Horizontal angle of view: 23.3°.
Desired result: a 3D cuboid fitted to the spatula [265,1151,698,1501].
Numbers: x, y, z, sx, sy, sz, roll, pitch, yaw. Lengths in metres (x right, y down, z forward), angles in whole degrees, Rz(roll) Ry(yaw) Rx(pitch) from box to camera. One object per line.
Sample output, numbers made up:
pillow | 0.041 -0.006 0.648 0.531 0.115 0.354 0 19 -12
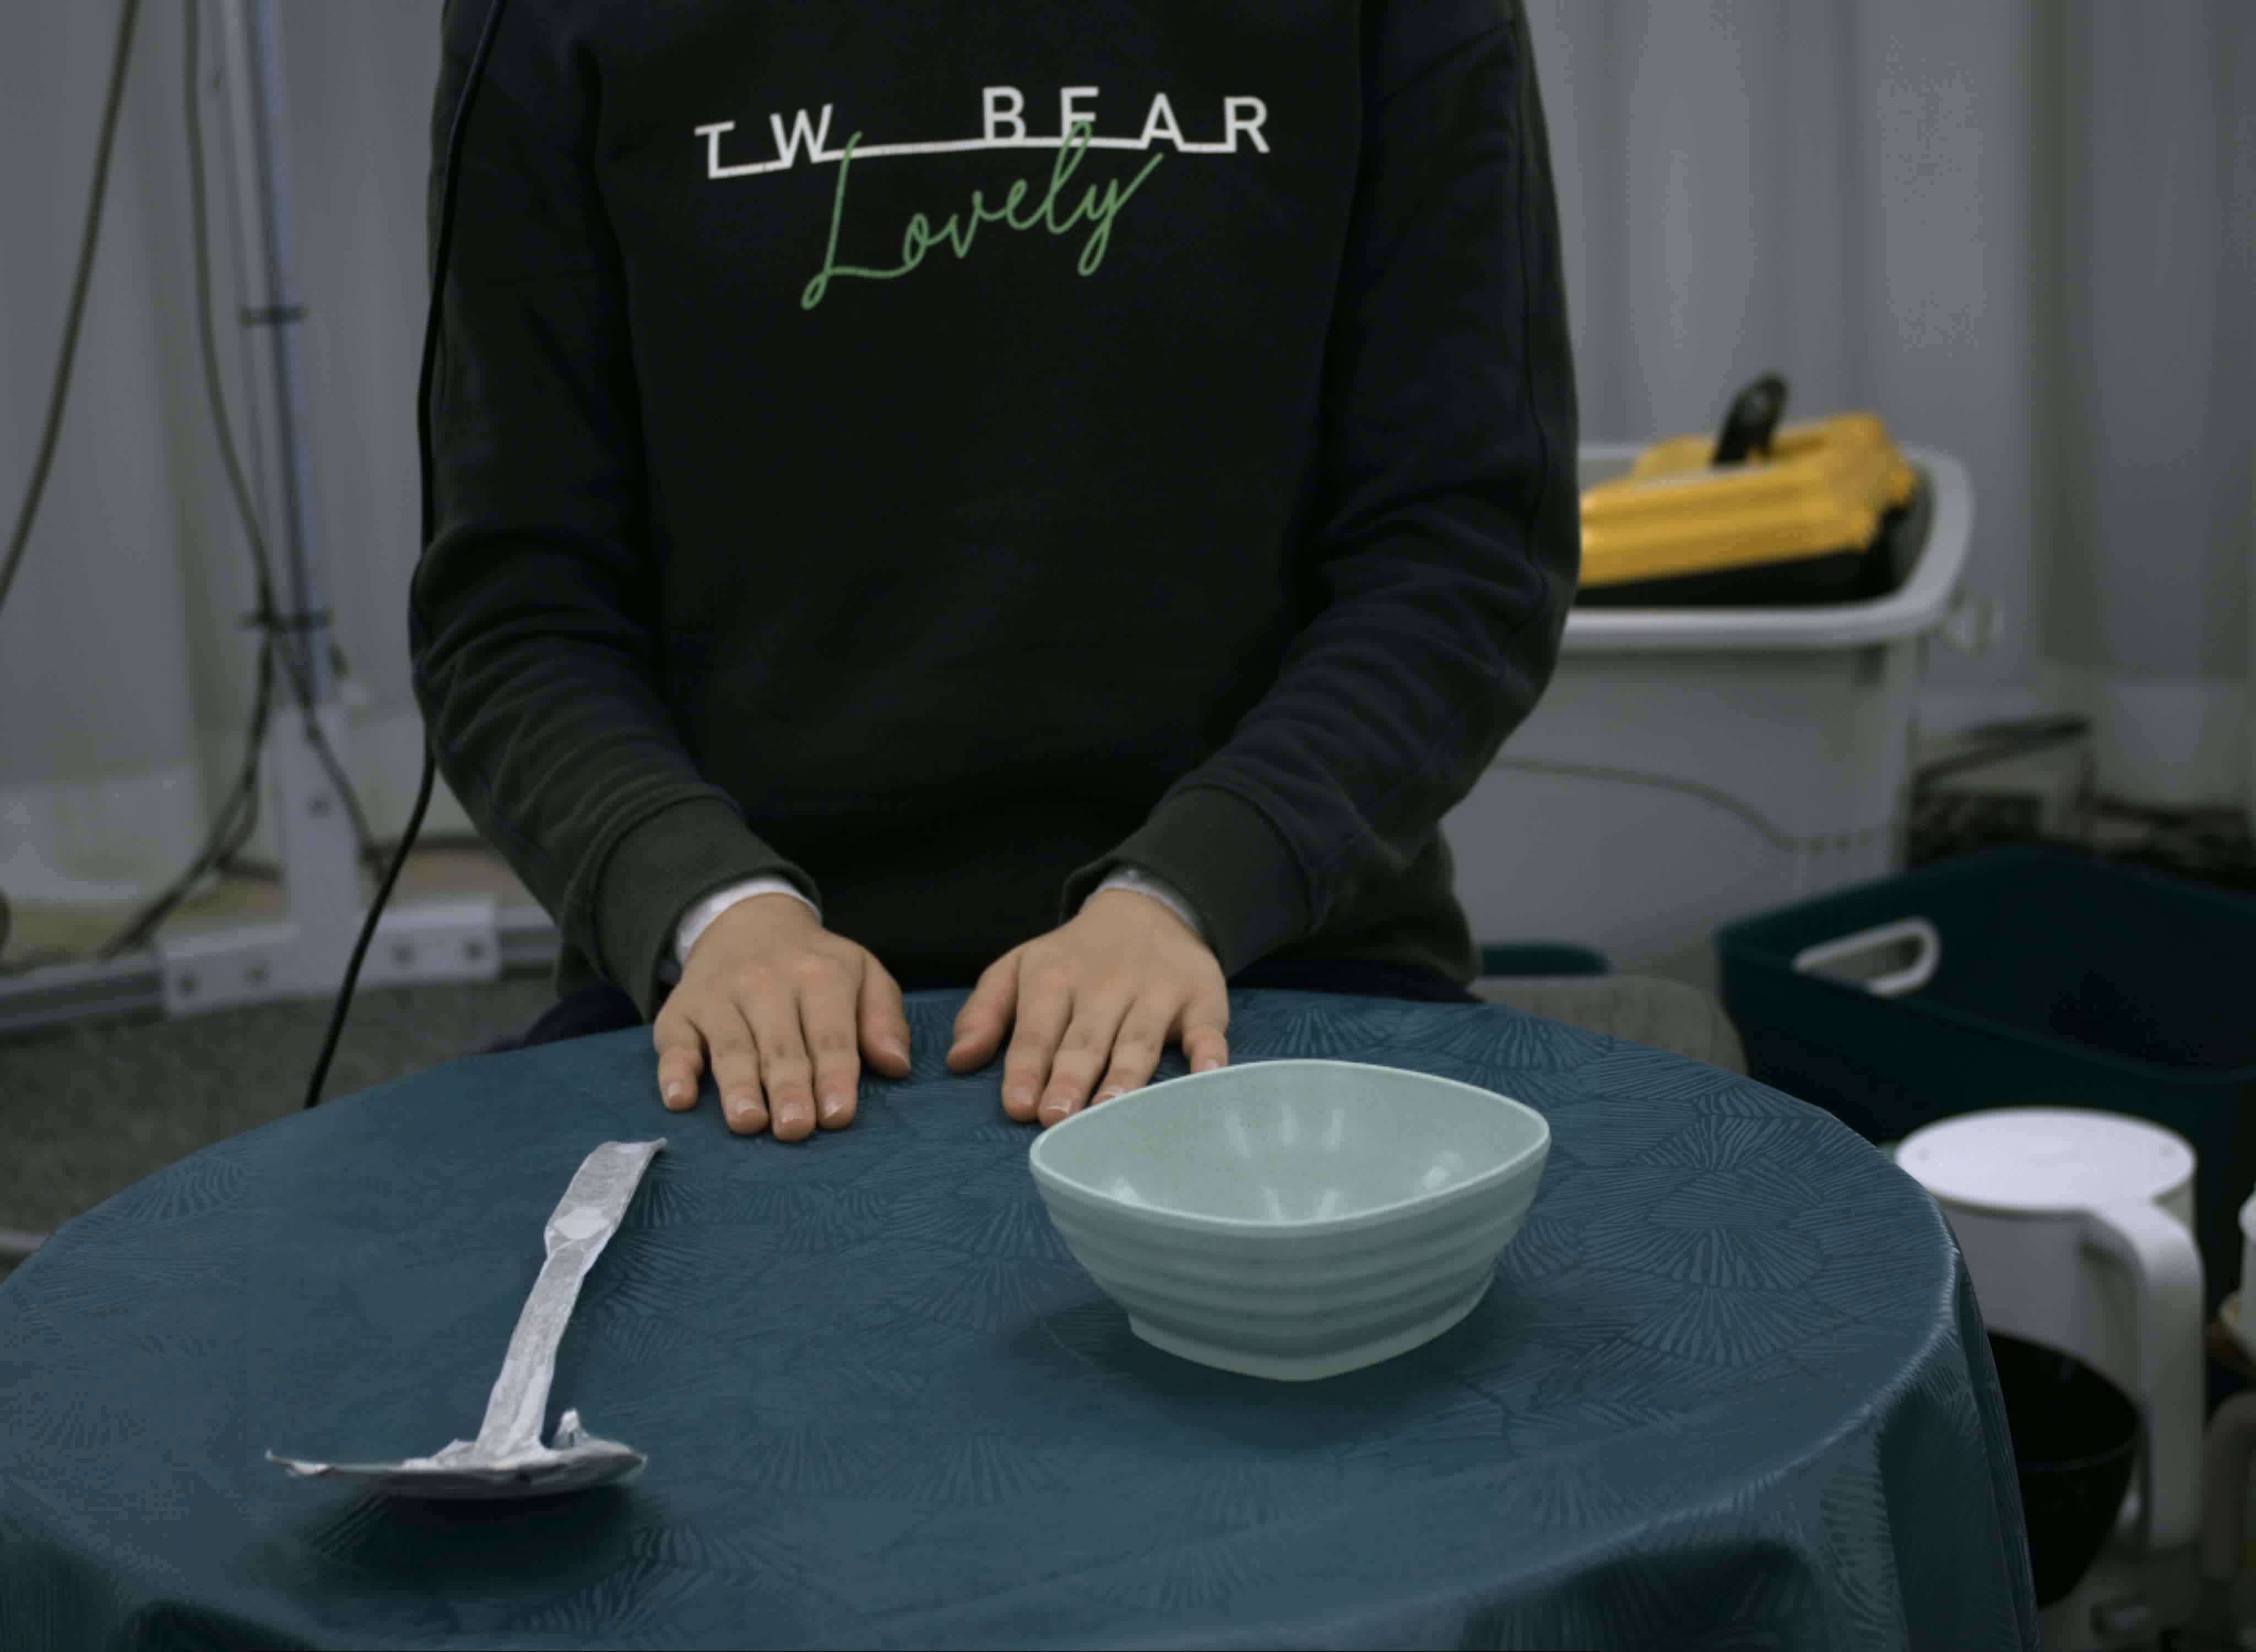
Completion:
spatula | -0.165 0.136 1.590 0.098 0.044 0.367 -3 15 5

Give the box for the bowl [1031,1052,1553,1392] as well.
bowl | 0.048 0.118 1.586 0.151 0.058 0.152 -2 17 0
